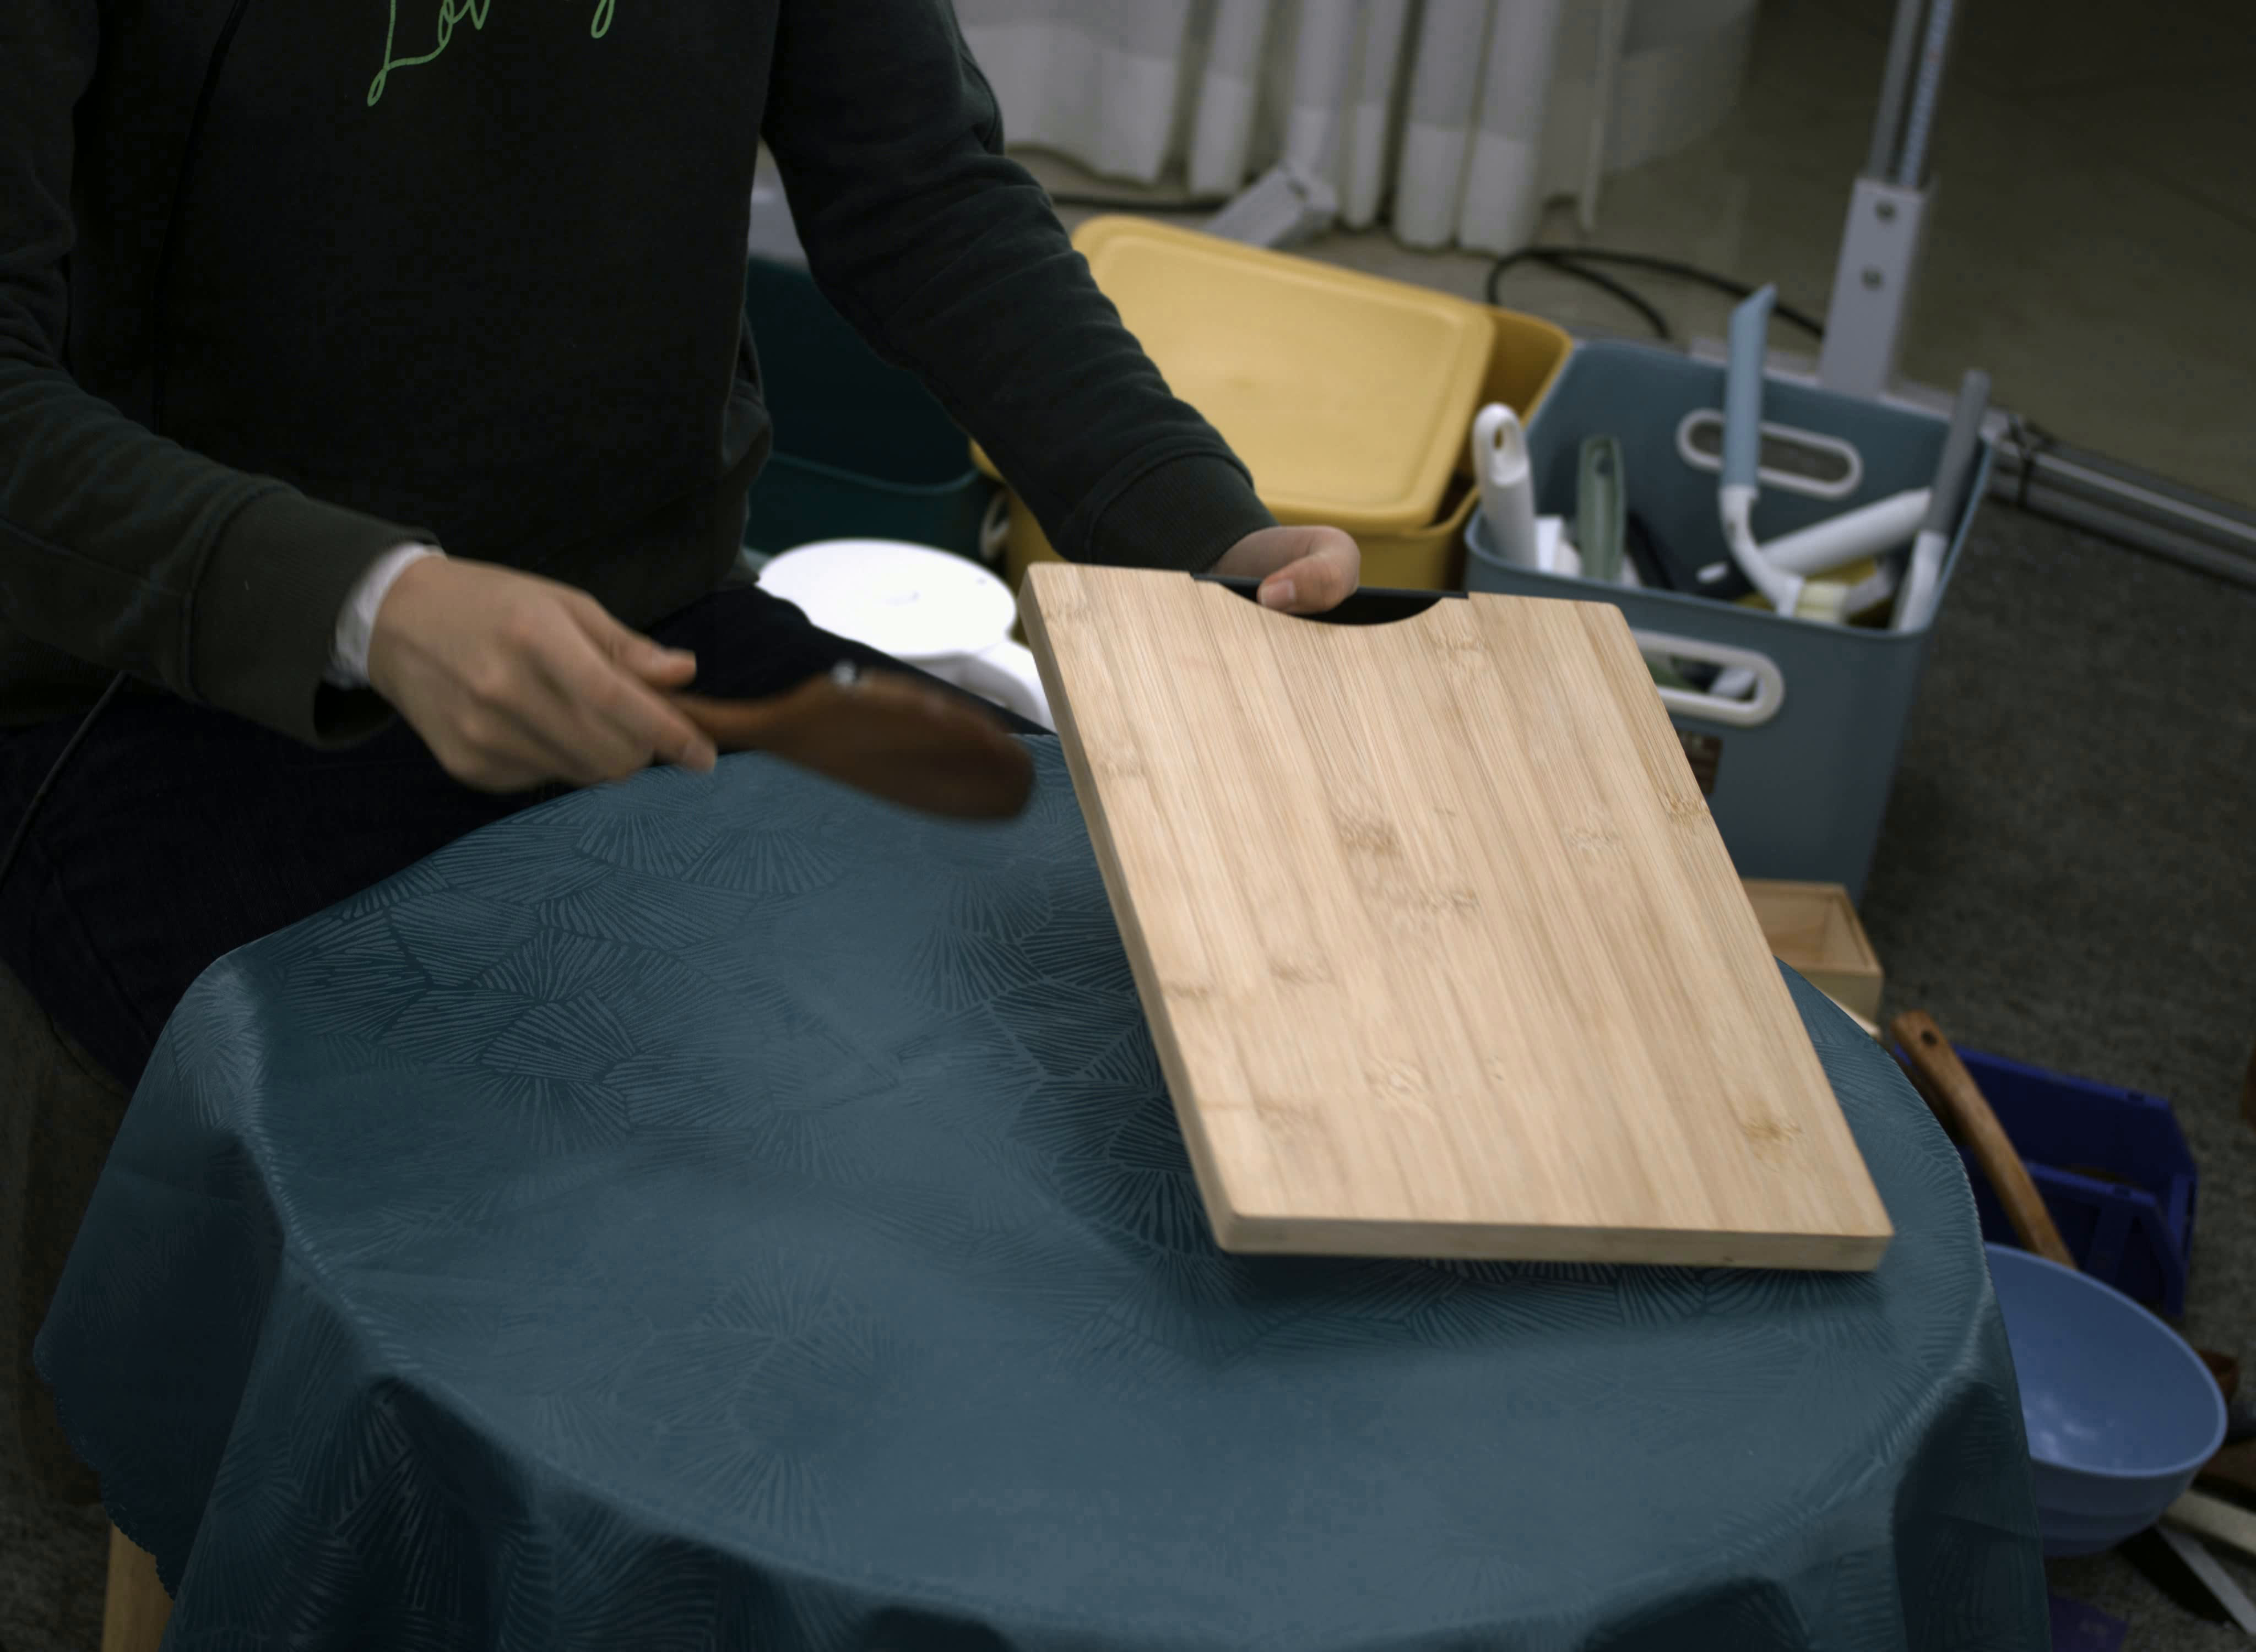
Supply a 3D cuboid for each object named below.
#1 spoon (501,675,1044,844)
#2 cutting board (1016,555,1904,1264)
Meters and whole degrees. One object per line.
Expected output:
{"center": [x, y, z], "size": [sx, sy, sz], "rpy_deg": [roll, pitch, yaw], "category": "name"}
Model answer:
{"center": [-0.121, -0.024, 1.741], "size": [0.217, 0.075, 0.017], "rpy_deg": [11, 66, 34], "category": "spoon"}
{"center": [0.109, 0.025, 1.885], "size": [0.249, 0.023, 0.352], "rpy_deg": [3, 40, -20], "category": "cutting board"}
